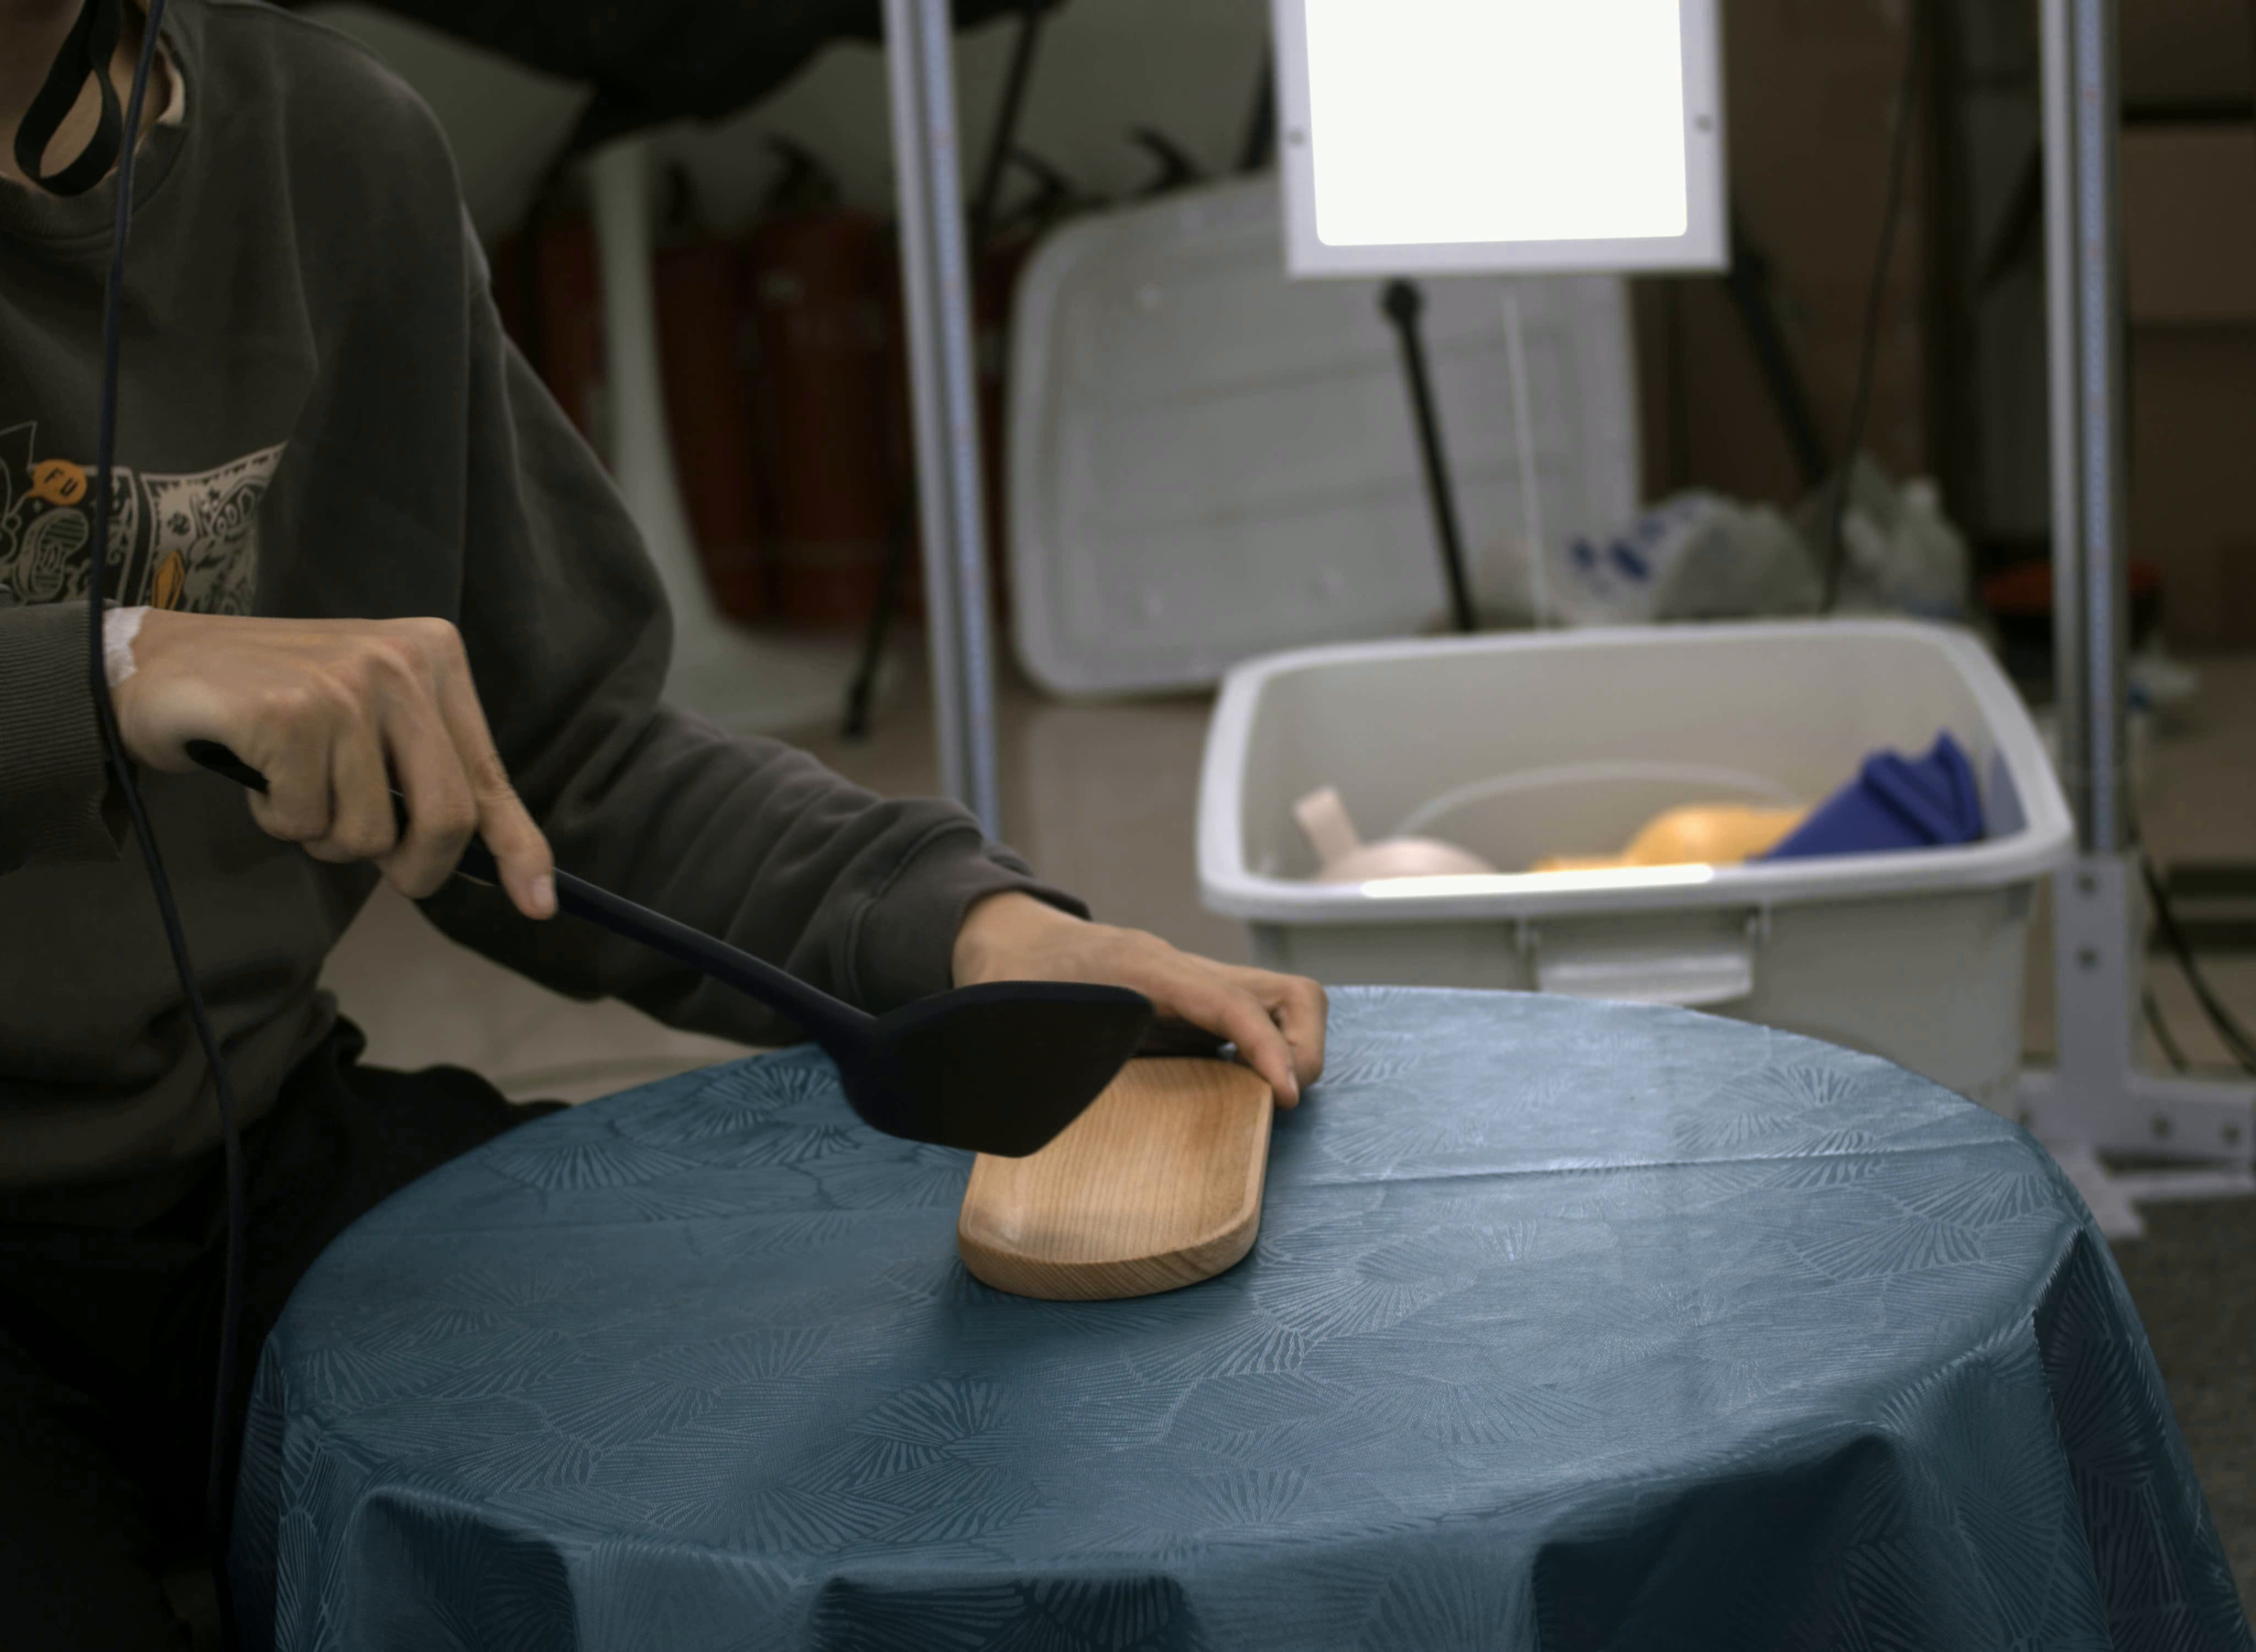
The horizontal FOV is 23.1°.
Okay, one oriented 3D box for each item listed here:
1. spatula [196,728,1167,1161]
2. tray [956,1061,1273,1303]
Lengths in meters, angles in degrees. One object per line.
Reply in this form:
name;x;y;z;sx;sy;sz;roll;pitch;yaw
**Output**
spatula;-0.147;0.030;1.772;0.323;0.101;0.040;26;44;-12
tray;-0.002;0.120;1.890;0.102;0.020;0.230;-5;15;5
